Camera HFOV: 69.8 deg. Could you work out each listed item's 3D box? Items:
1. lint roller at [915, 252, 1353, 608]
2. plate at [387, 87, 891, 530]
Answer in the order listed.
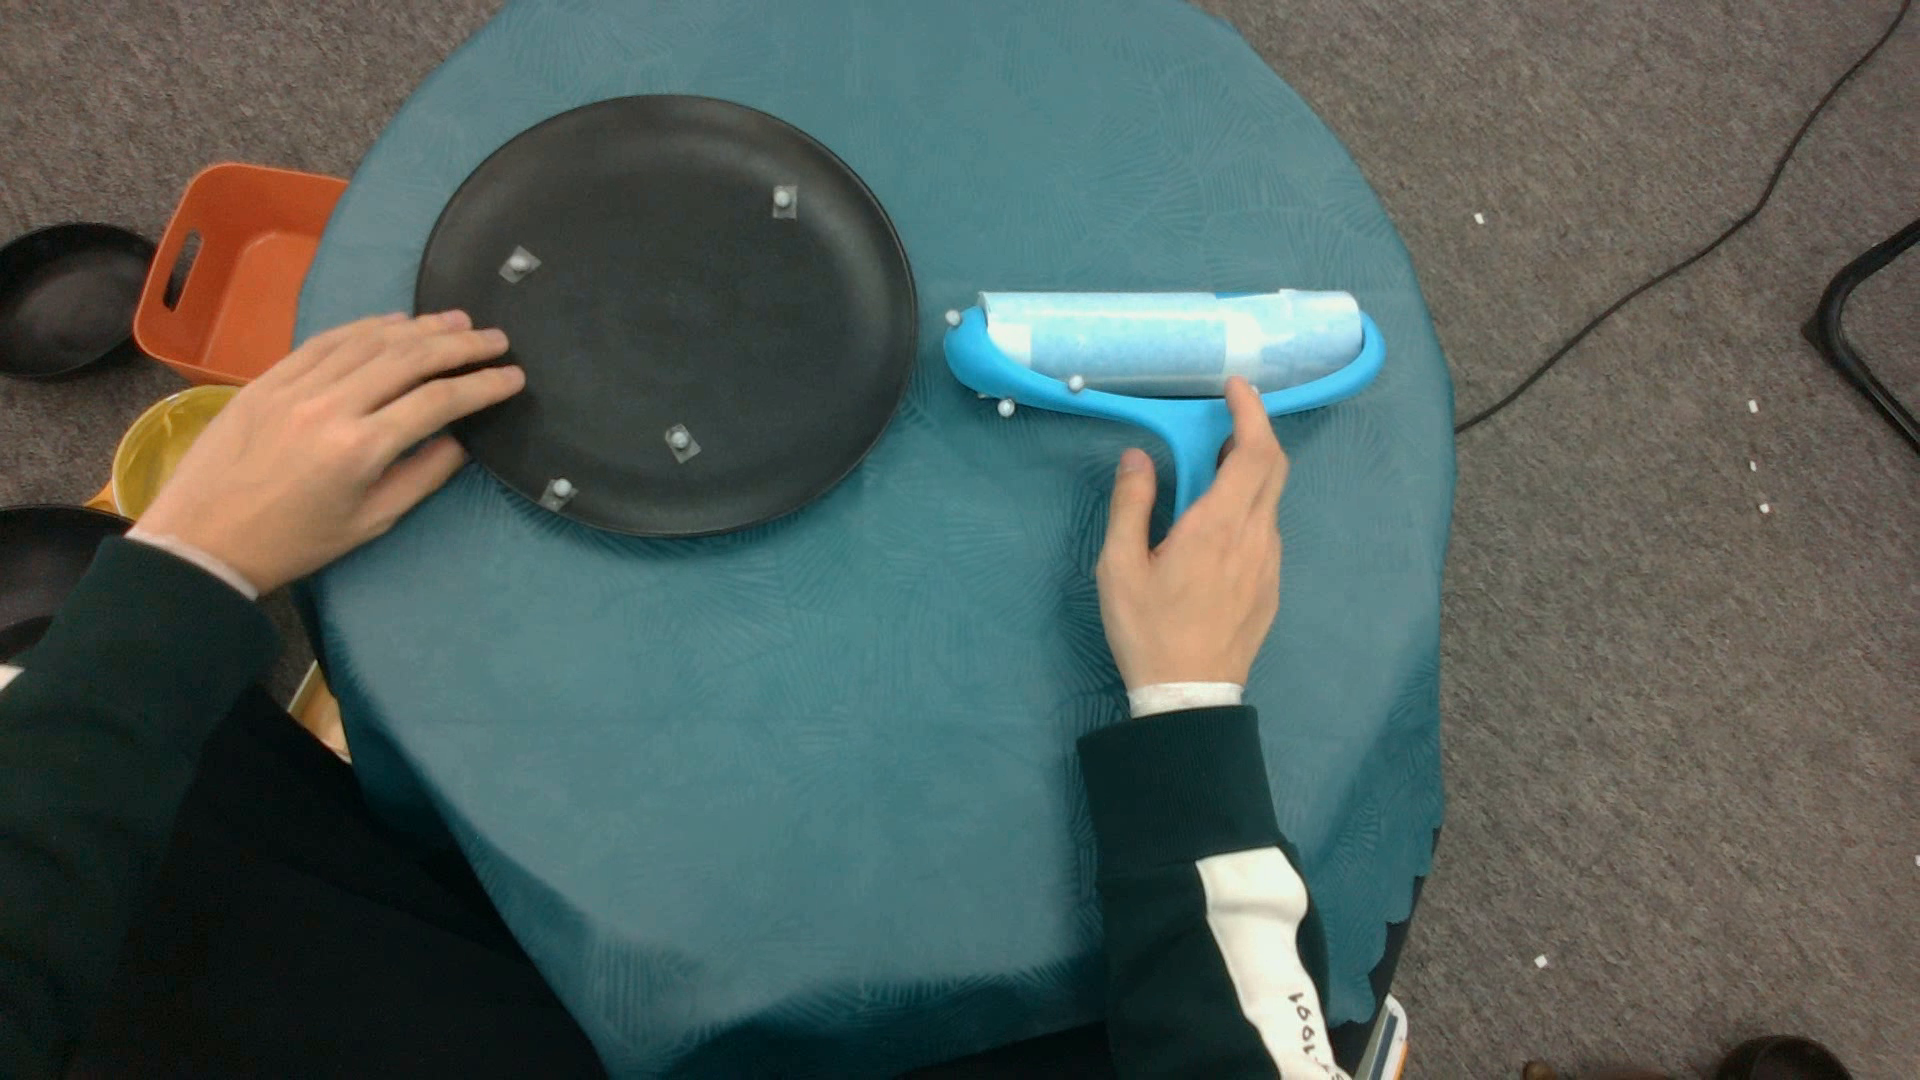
[{"bbox_3d":[0.100,-0.060,0.693,0.229,0.067,0.180,-6,74,-12],"label":"lint roller"},{"bbox_3d":[-0.157,-0.117,0.689,0.244,0.023,0.245,3,72,-8],"label":"plate"}]
